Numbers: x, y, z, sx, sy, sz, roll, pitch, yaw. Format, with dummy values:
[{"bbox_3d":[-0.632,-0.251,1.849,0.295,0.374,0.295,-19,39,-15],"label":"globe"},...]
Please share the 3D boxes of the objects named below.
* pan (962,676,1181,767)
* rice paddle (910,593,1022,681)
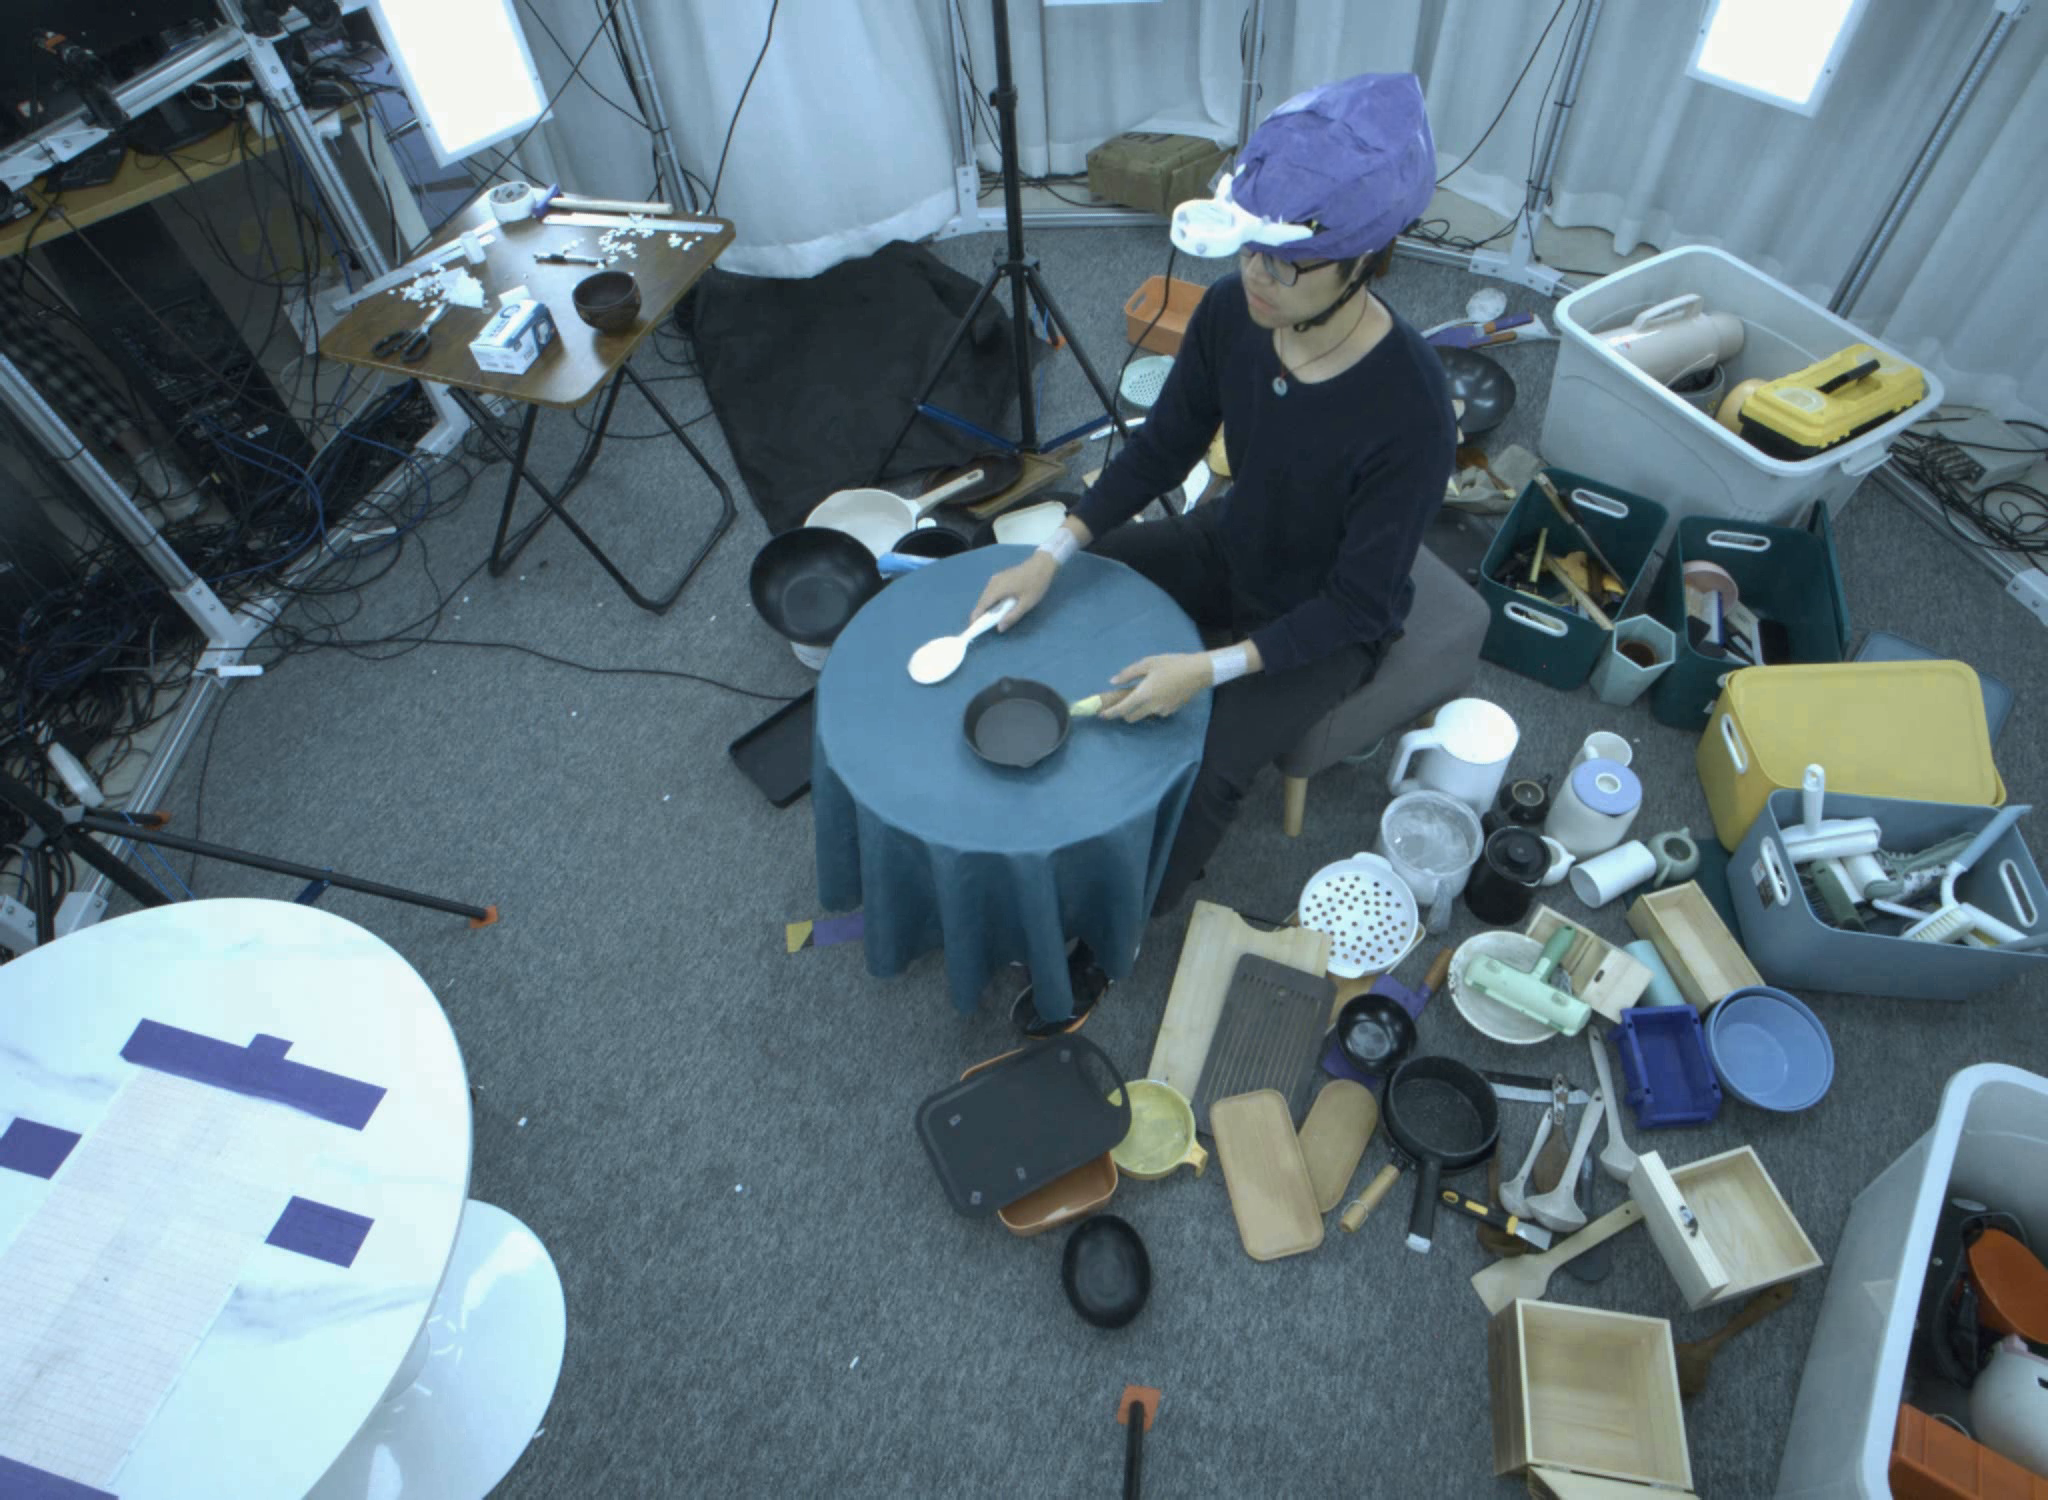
[{"bbox_3d":[0.071,-0.056,1.792,0.325,0.050,0.166,-11,55,-4],"label":"pan"},{"bbox_3d":[-0.091,-0.173,1.889,0.206,0.030,0.067,-38,62,-17],"label":"rice paddle"}]
